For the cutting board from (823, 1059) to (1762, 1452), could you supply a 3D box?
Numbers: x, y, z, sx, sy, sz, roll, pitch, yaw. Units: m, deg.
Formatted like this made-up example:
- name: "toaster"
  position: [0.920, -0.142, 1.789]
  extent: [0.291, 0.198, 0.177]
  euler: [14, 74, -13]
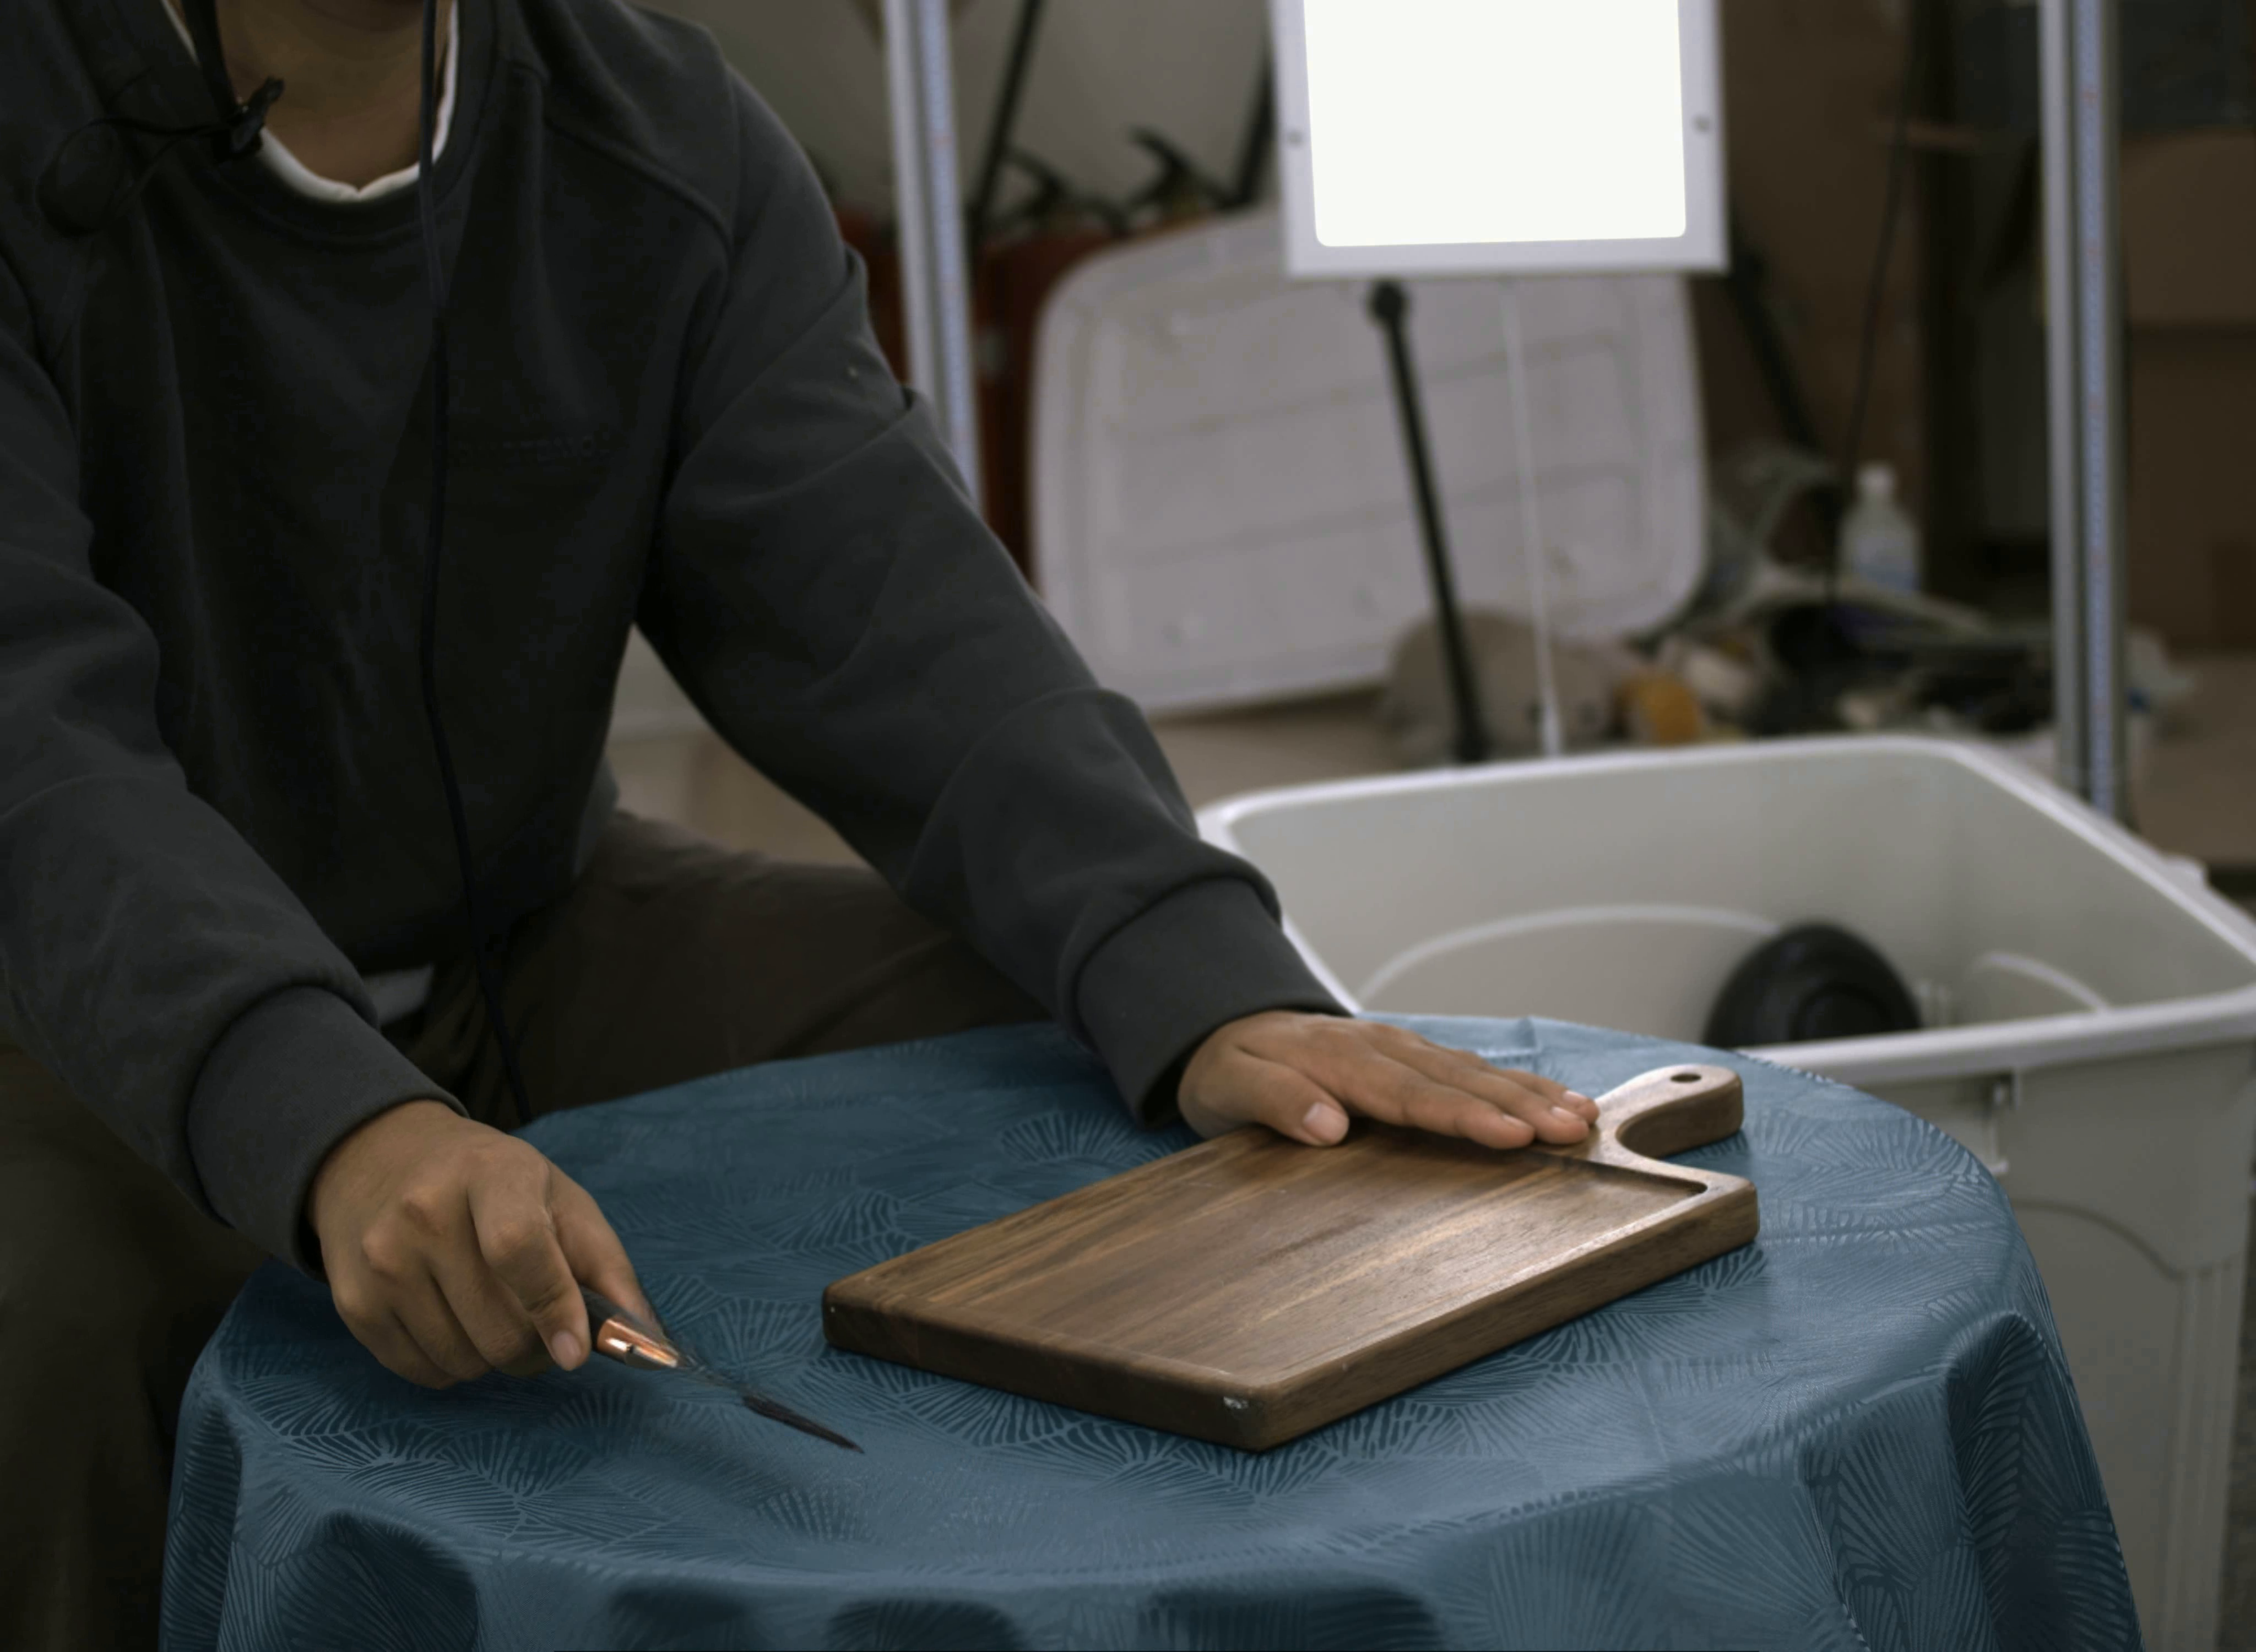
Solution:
- name: "cutting board"
  position: [0.089, 0.130, 1.809]
  extent: [0.343, 0.023, 0.205]
  euler: [-17, 18, -42]

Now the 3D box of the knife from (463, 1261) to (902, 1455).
- name: "knife"
  position: [-0.139, 0.162, 1.682]
  extent: [0.025, 0.017, 0.230]
  euler: [12, 2, -38]
